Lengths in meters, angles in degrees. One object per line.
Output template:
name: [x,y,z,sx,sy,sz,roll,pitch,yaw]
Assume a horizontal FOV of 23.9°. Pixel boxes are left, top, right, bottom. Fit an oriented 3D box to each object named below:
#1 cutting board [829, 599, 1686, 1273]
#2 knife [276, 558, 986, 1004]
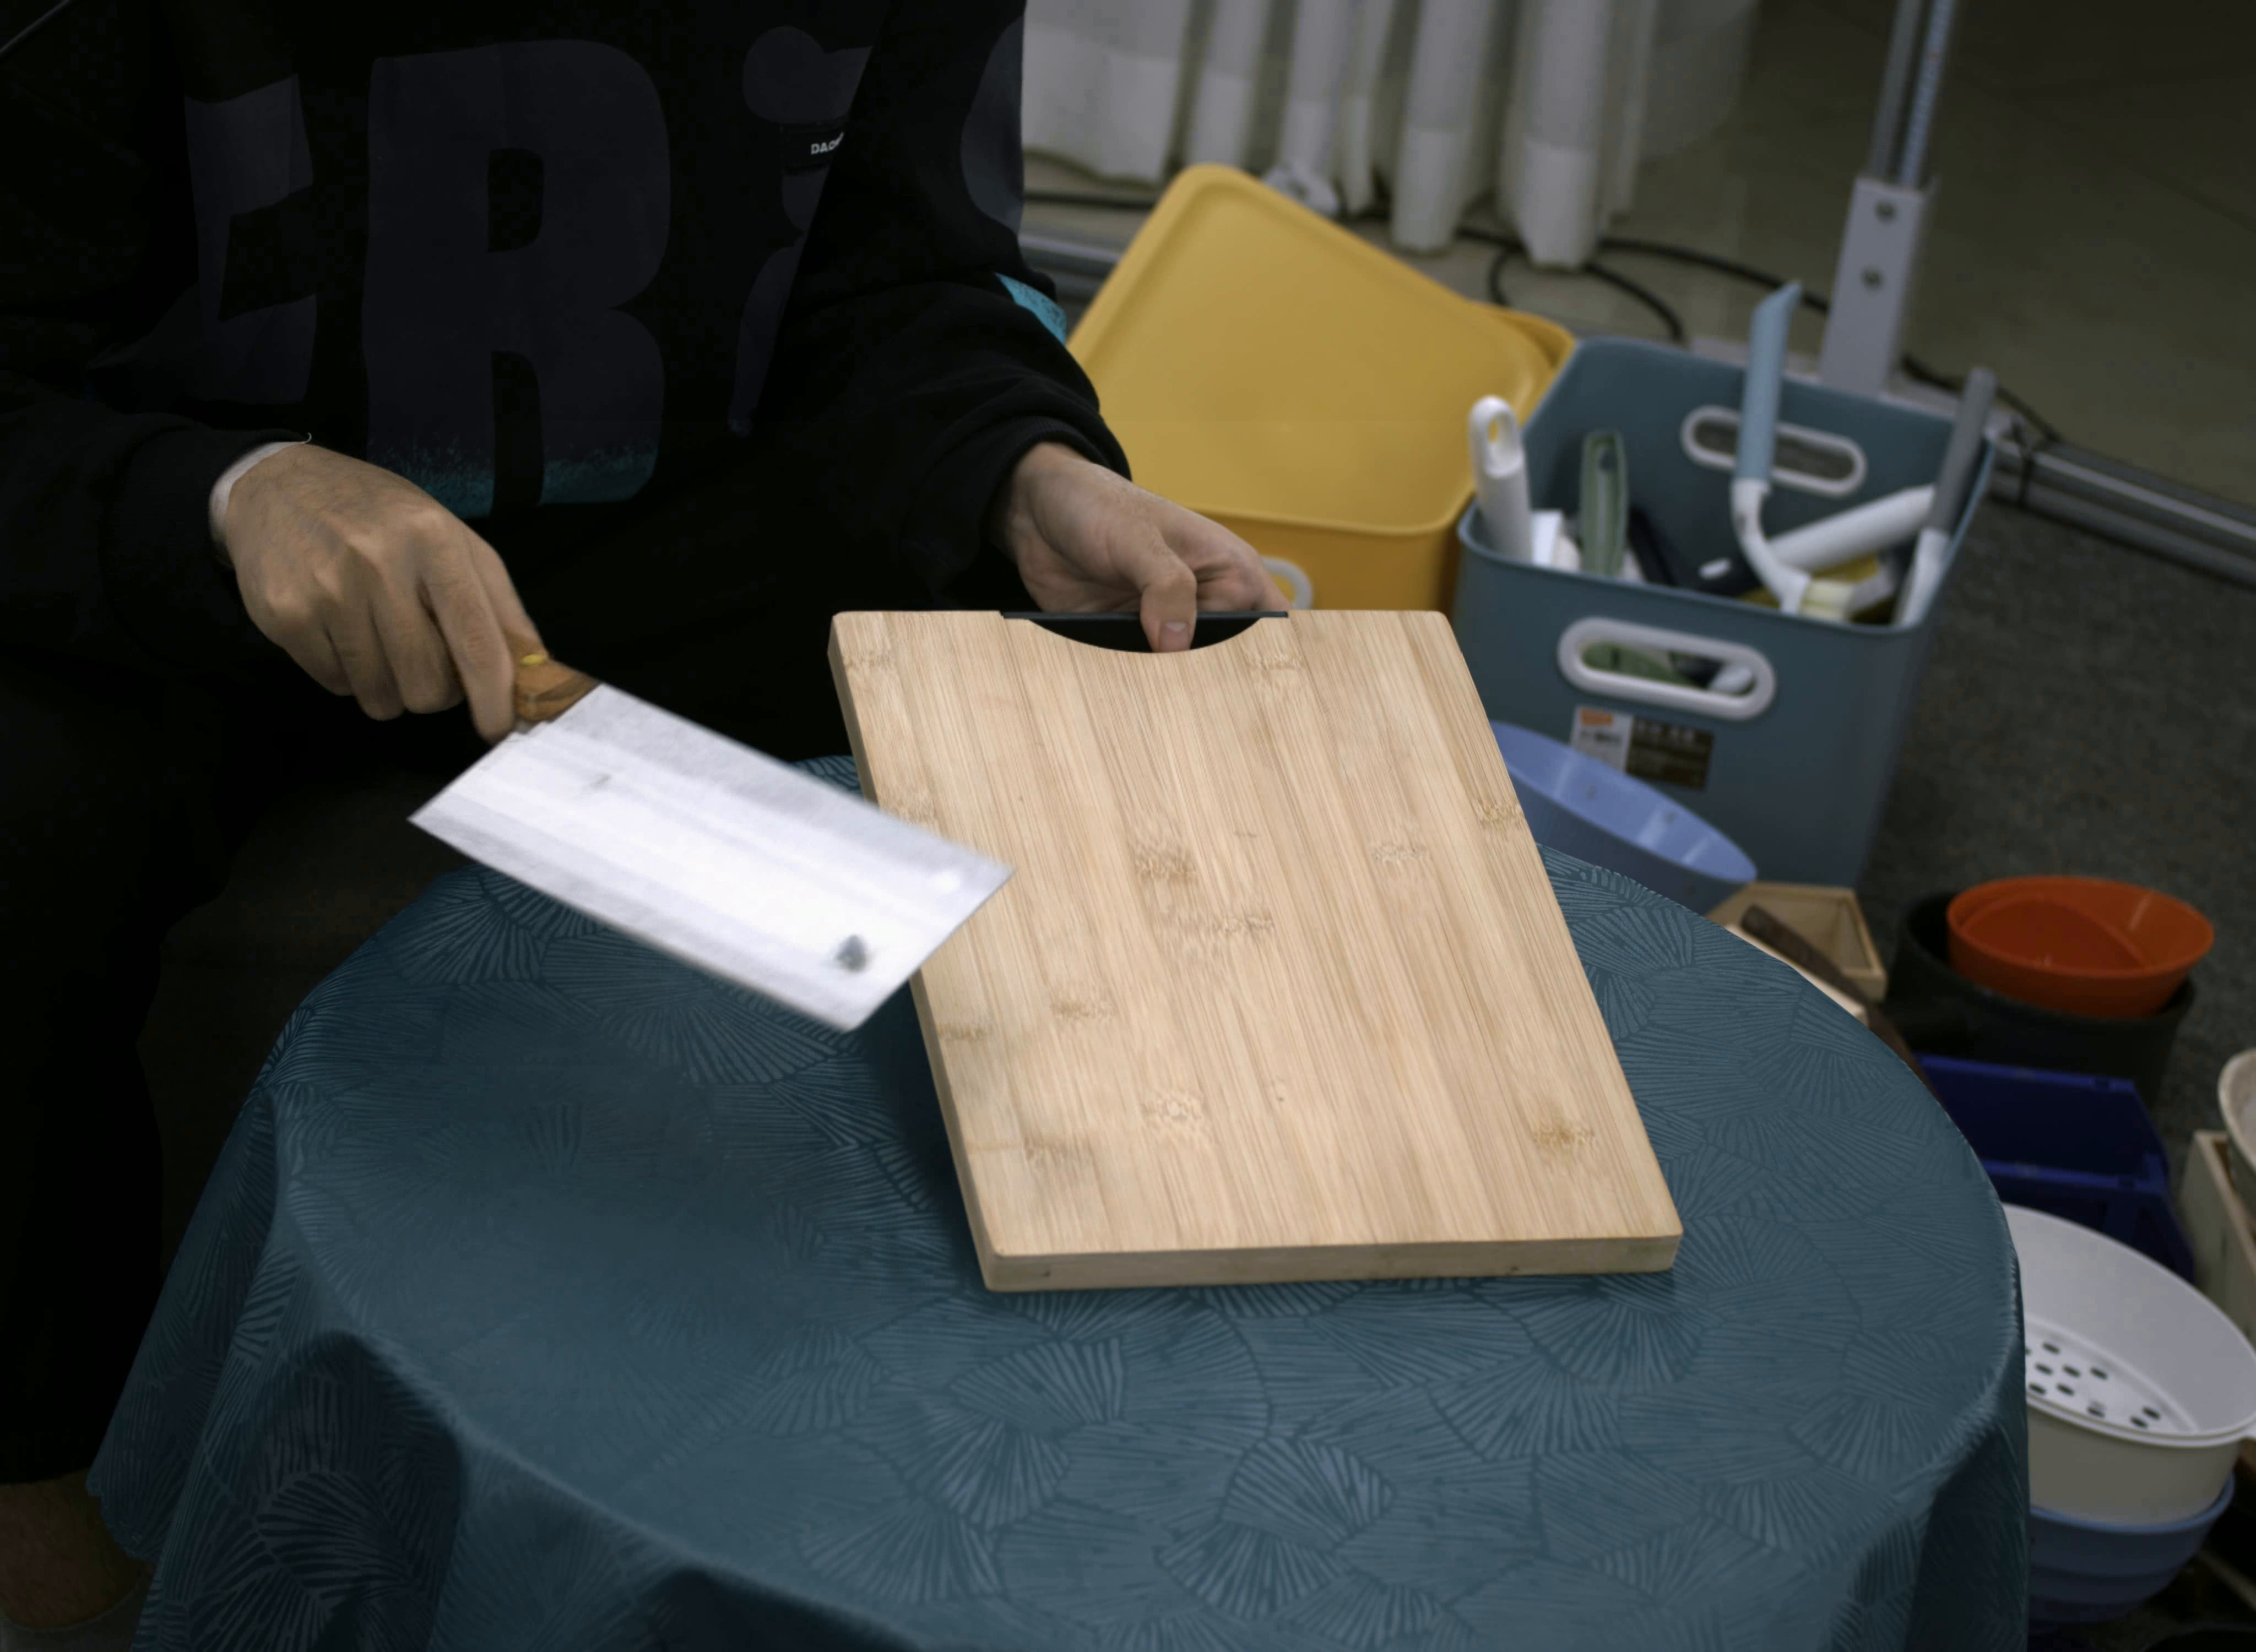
cutting board: [0.037,0.032,1.891,0.249,0.023,0.352,-1,40,-15]
knife: [-0.189,-0.013,1.796,0.307,0.021,0.093,25,49,29]
